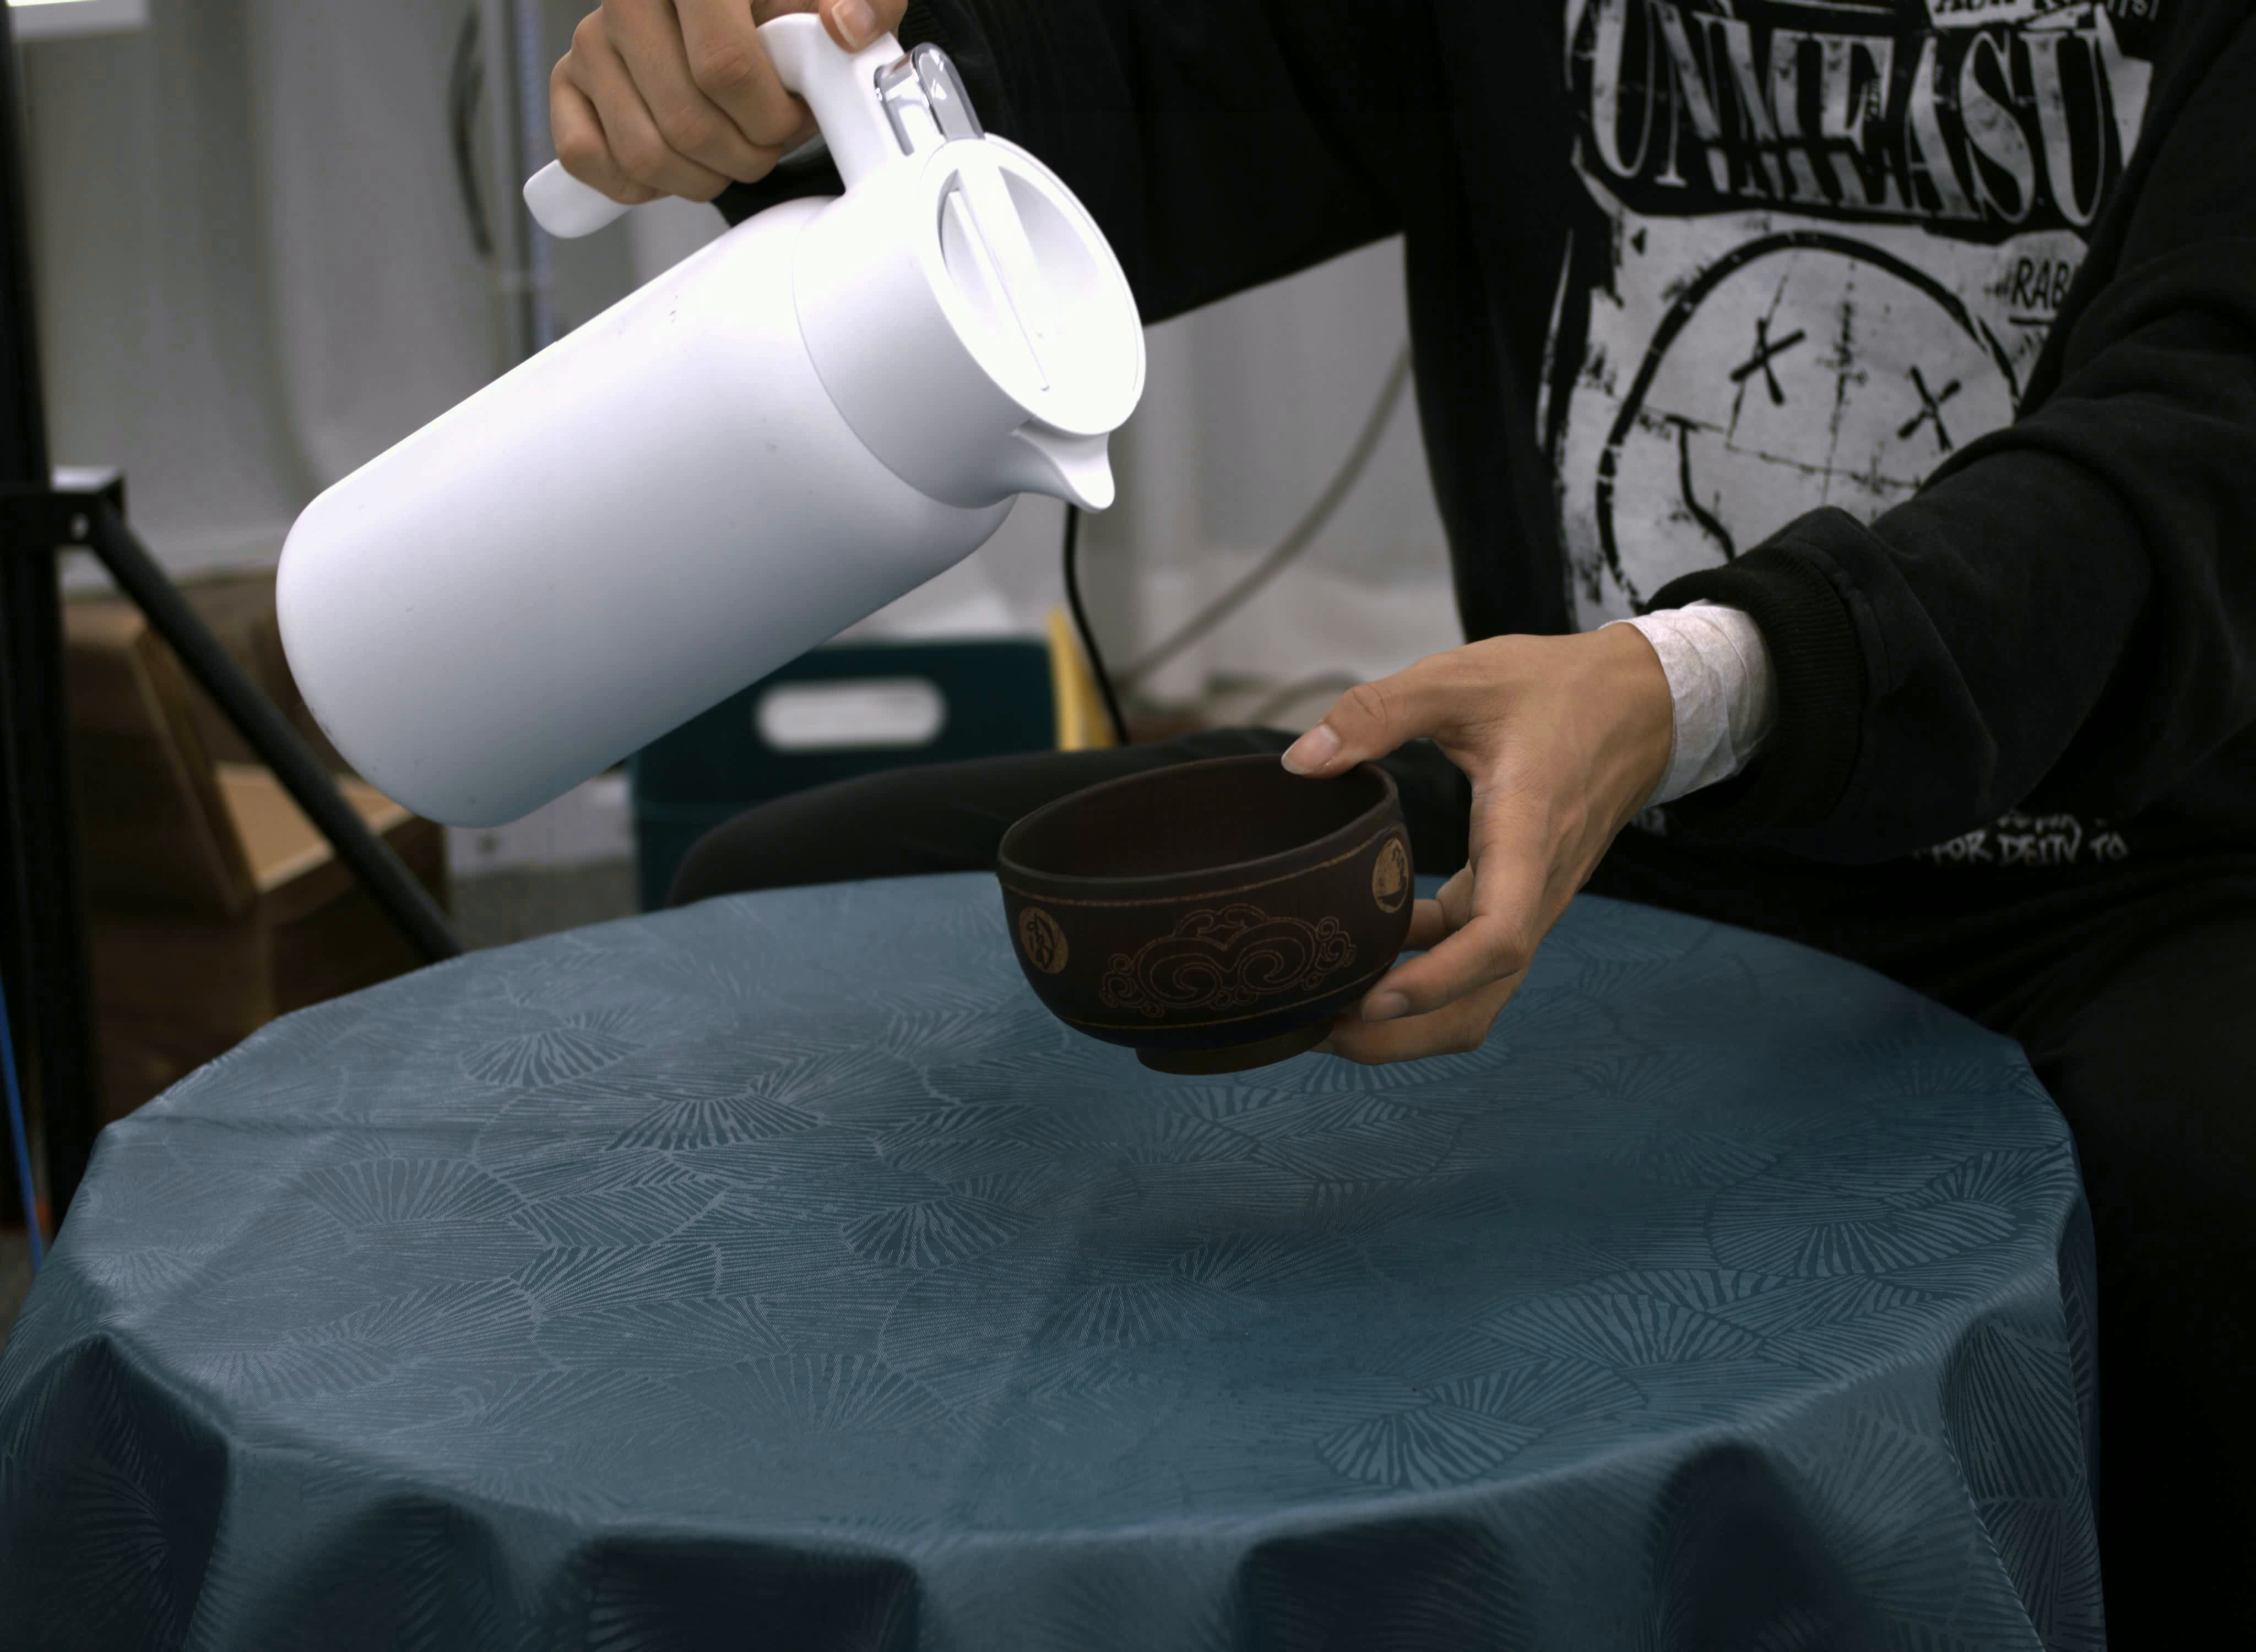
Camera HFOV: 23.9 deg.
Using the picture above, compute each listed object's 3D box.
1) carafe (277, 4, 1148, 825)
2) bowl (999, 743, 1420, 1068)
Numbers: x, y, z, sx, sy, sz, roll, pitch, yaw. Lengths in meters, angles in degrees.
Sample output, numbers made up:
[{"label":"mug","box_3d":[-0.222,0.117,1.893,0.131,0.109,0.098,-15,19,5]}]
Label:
[{"label":"carafe","box_3d":[-0.132,-0.118,1.578,0.272,0.174,0.121,-29,-8,35]},{"label":"bowl","box_3d":[0.026,0.027,1.502,0.117,0.070,0.118,-10,15,1]}]
